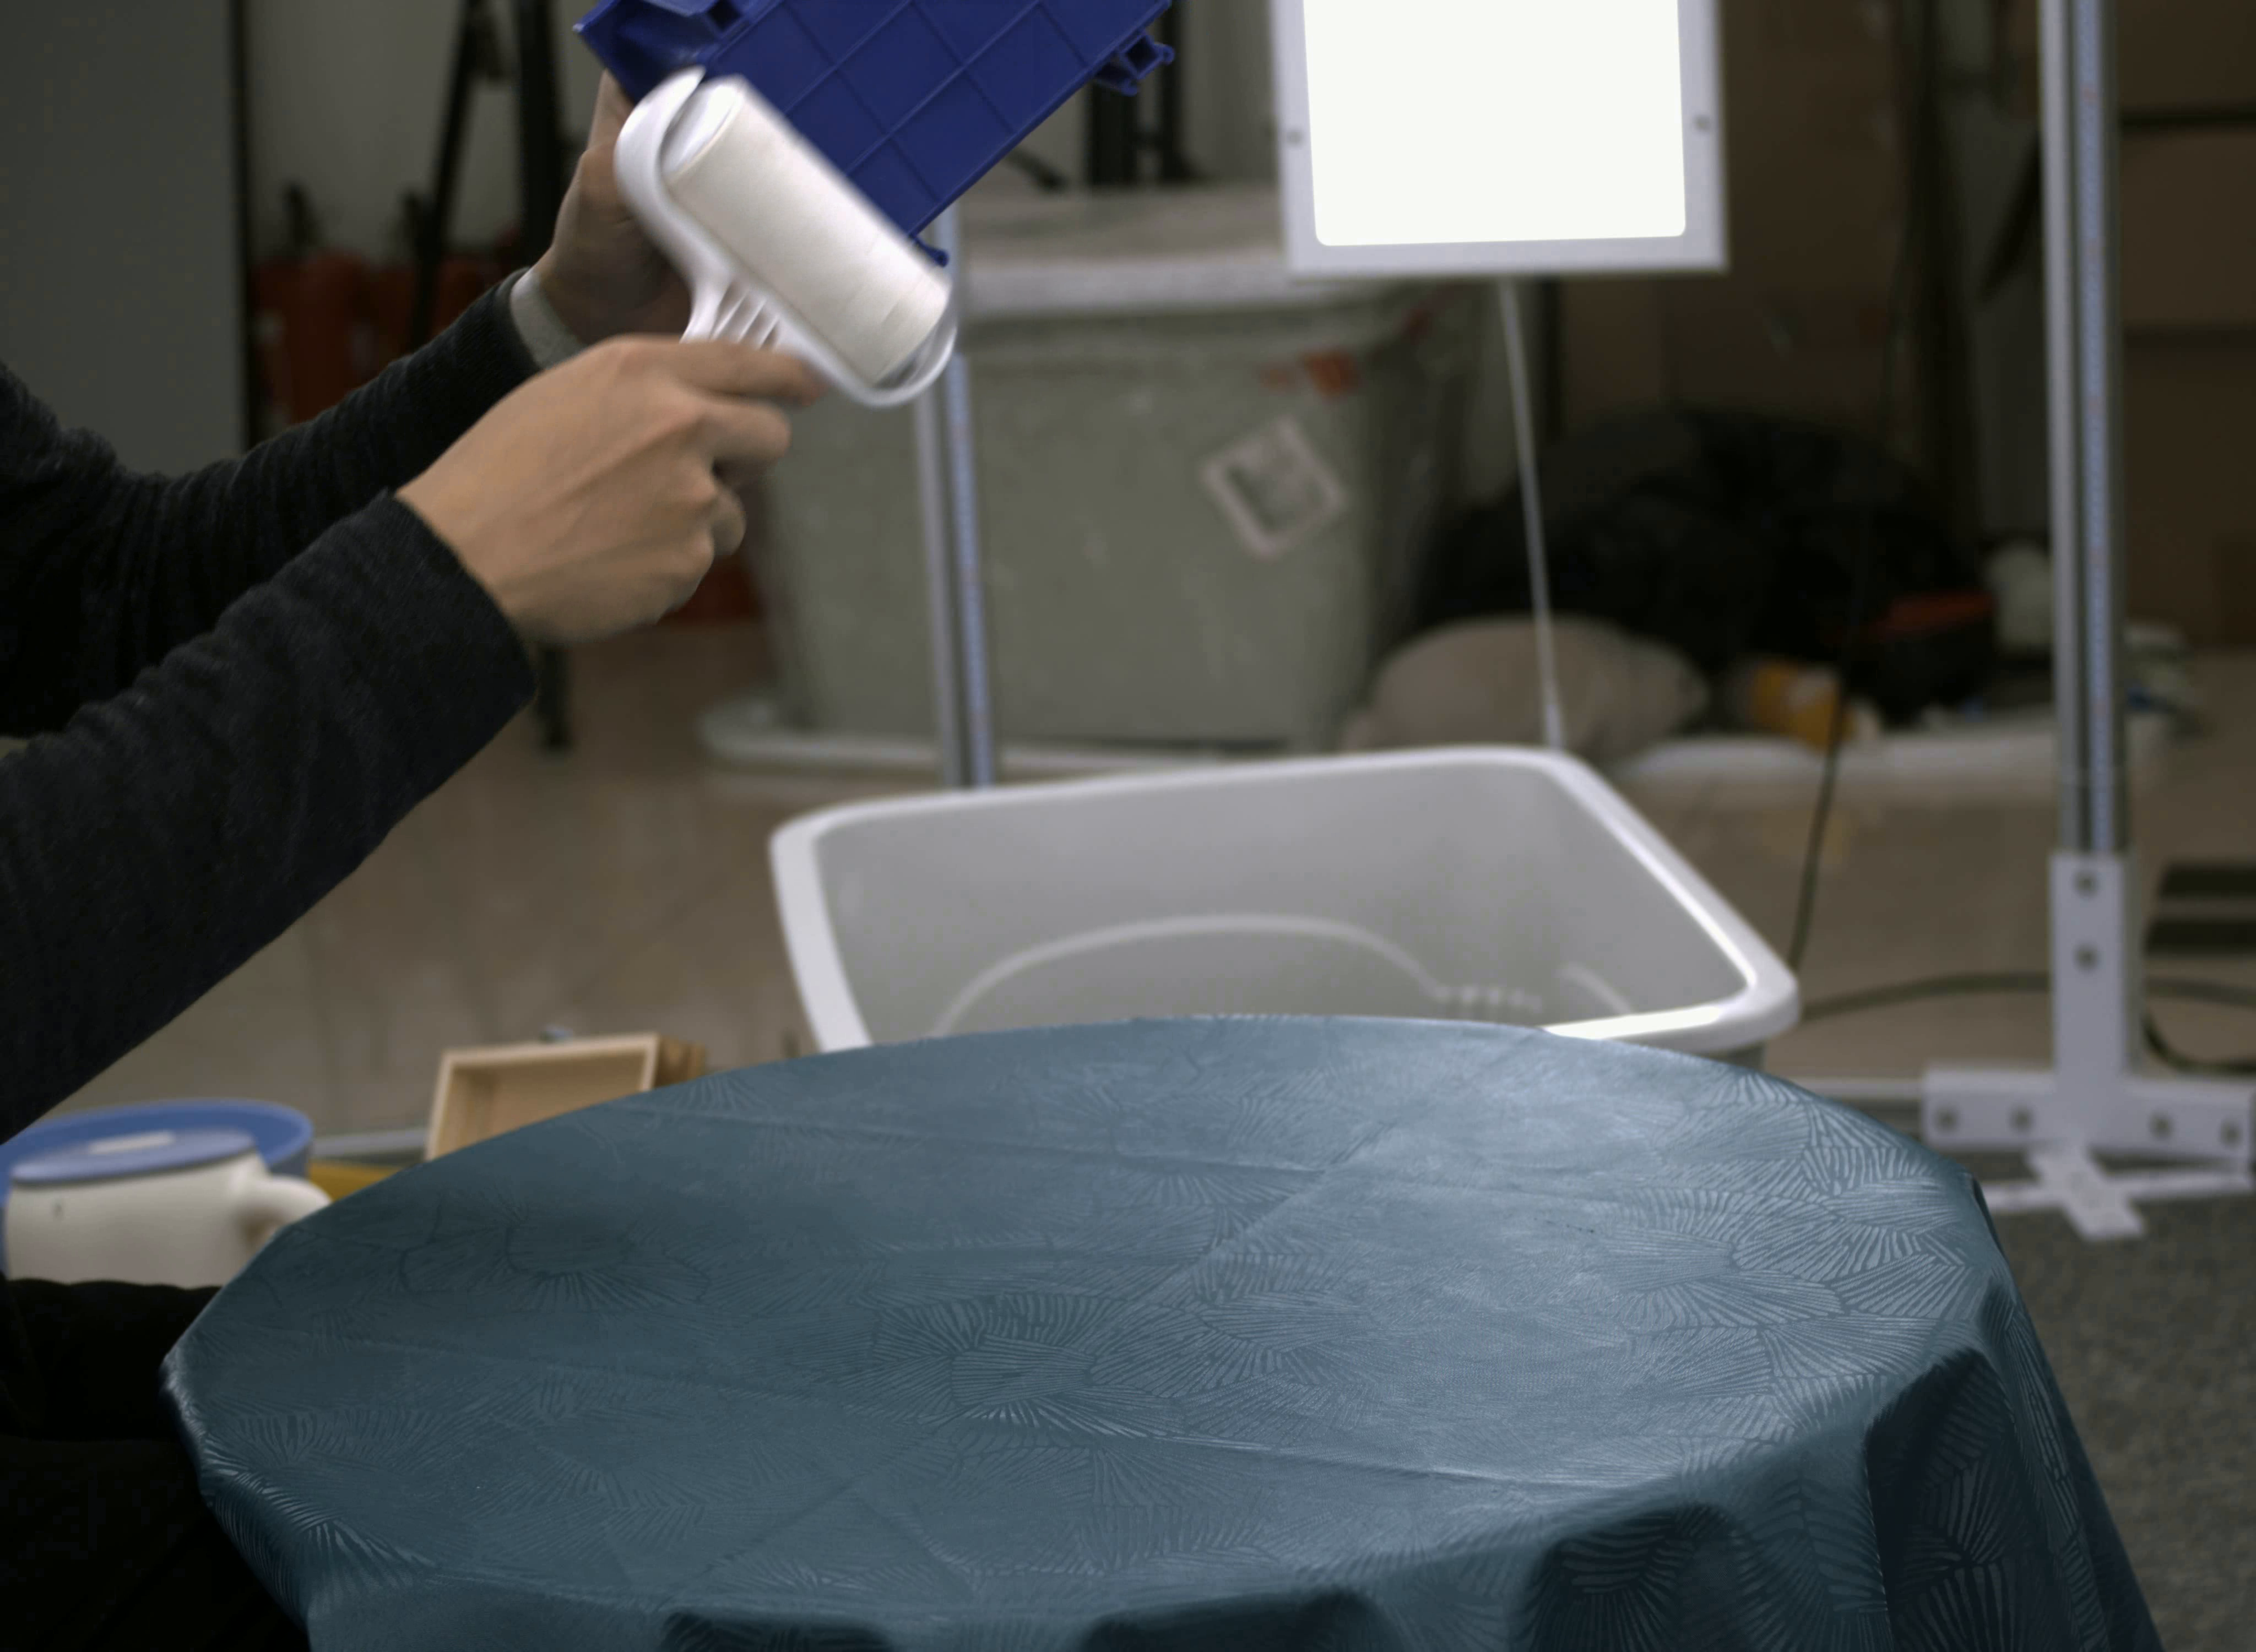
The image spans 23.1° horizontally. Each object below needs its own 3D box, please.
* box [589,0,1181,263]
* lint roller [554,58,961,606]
[{"bbox_3d":[-0.066,-0.281,1.843,0.178,0.123,0.083,-45,26,-8],"label":"box"},{"bbox_3d":[-0.131,-0.146,1.749,0.051,0.131,0.178,-16,39,47],"label":"lint roller"}]
